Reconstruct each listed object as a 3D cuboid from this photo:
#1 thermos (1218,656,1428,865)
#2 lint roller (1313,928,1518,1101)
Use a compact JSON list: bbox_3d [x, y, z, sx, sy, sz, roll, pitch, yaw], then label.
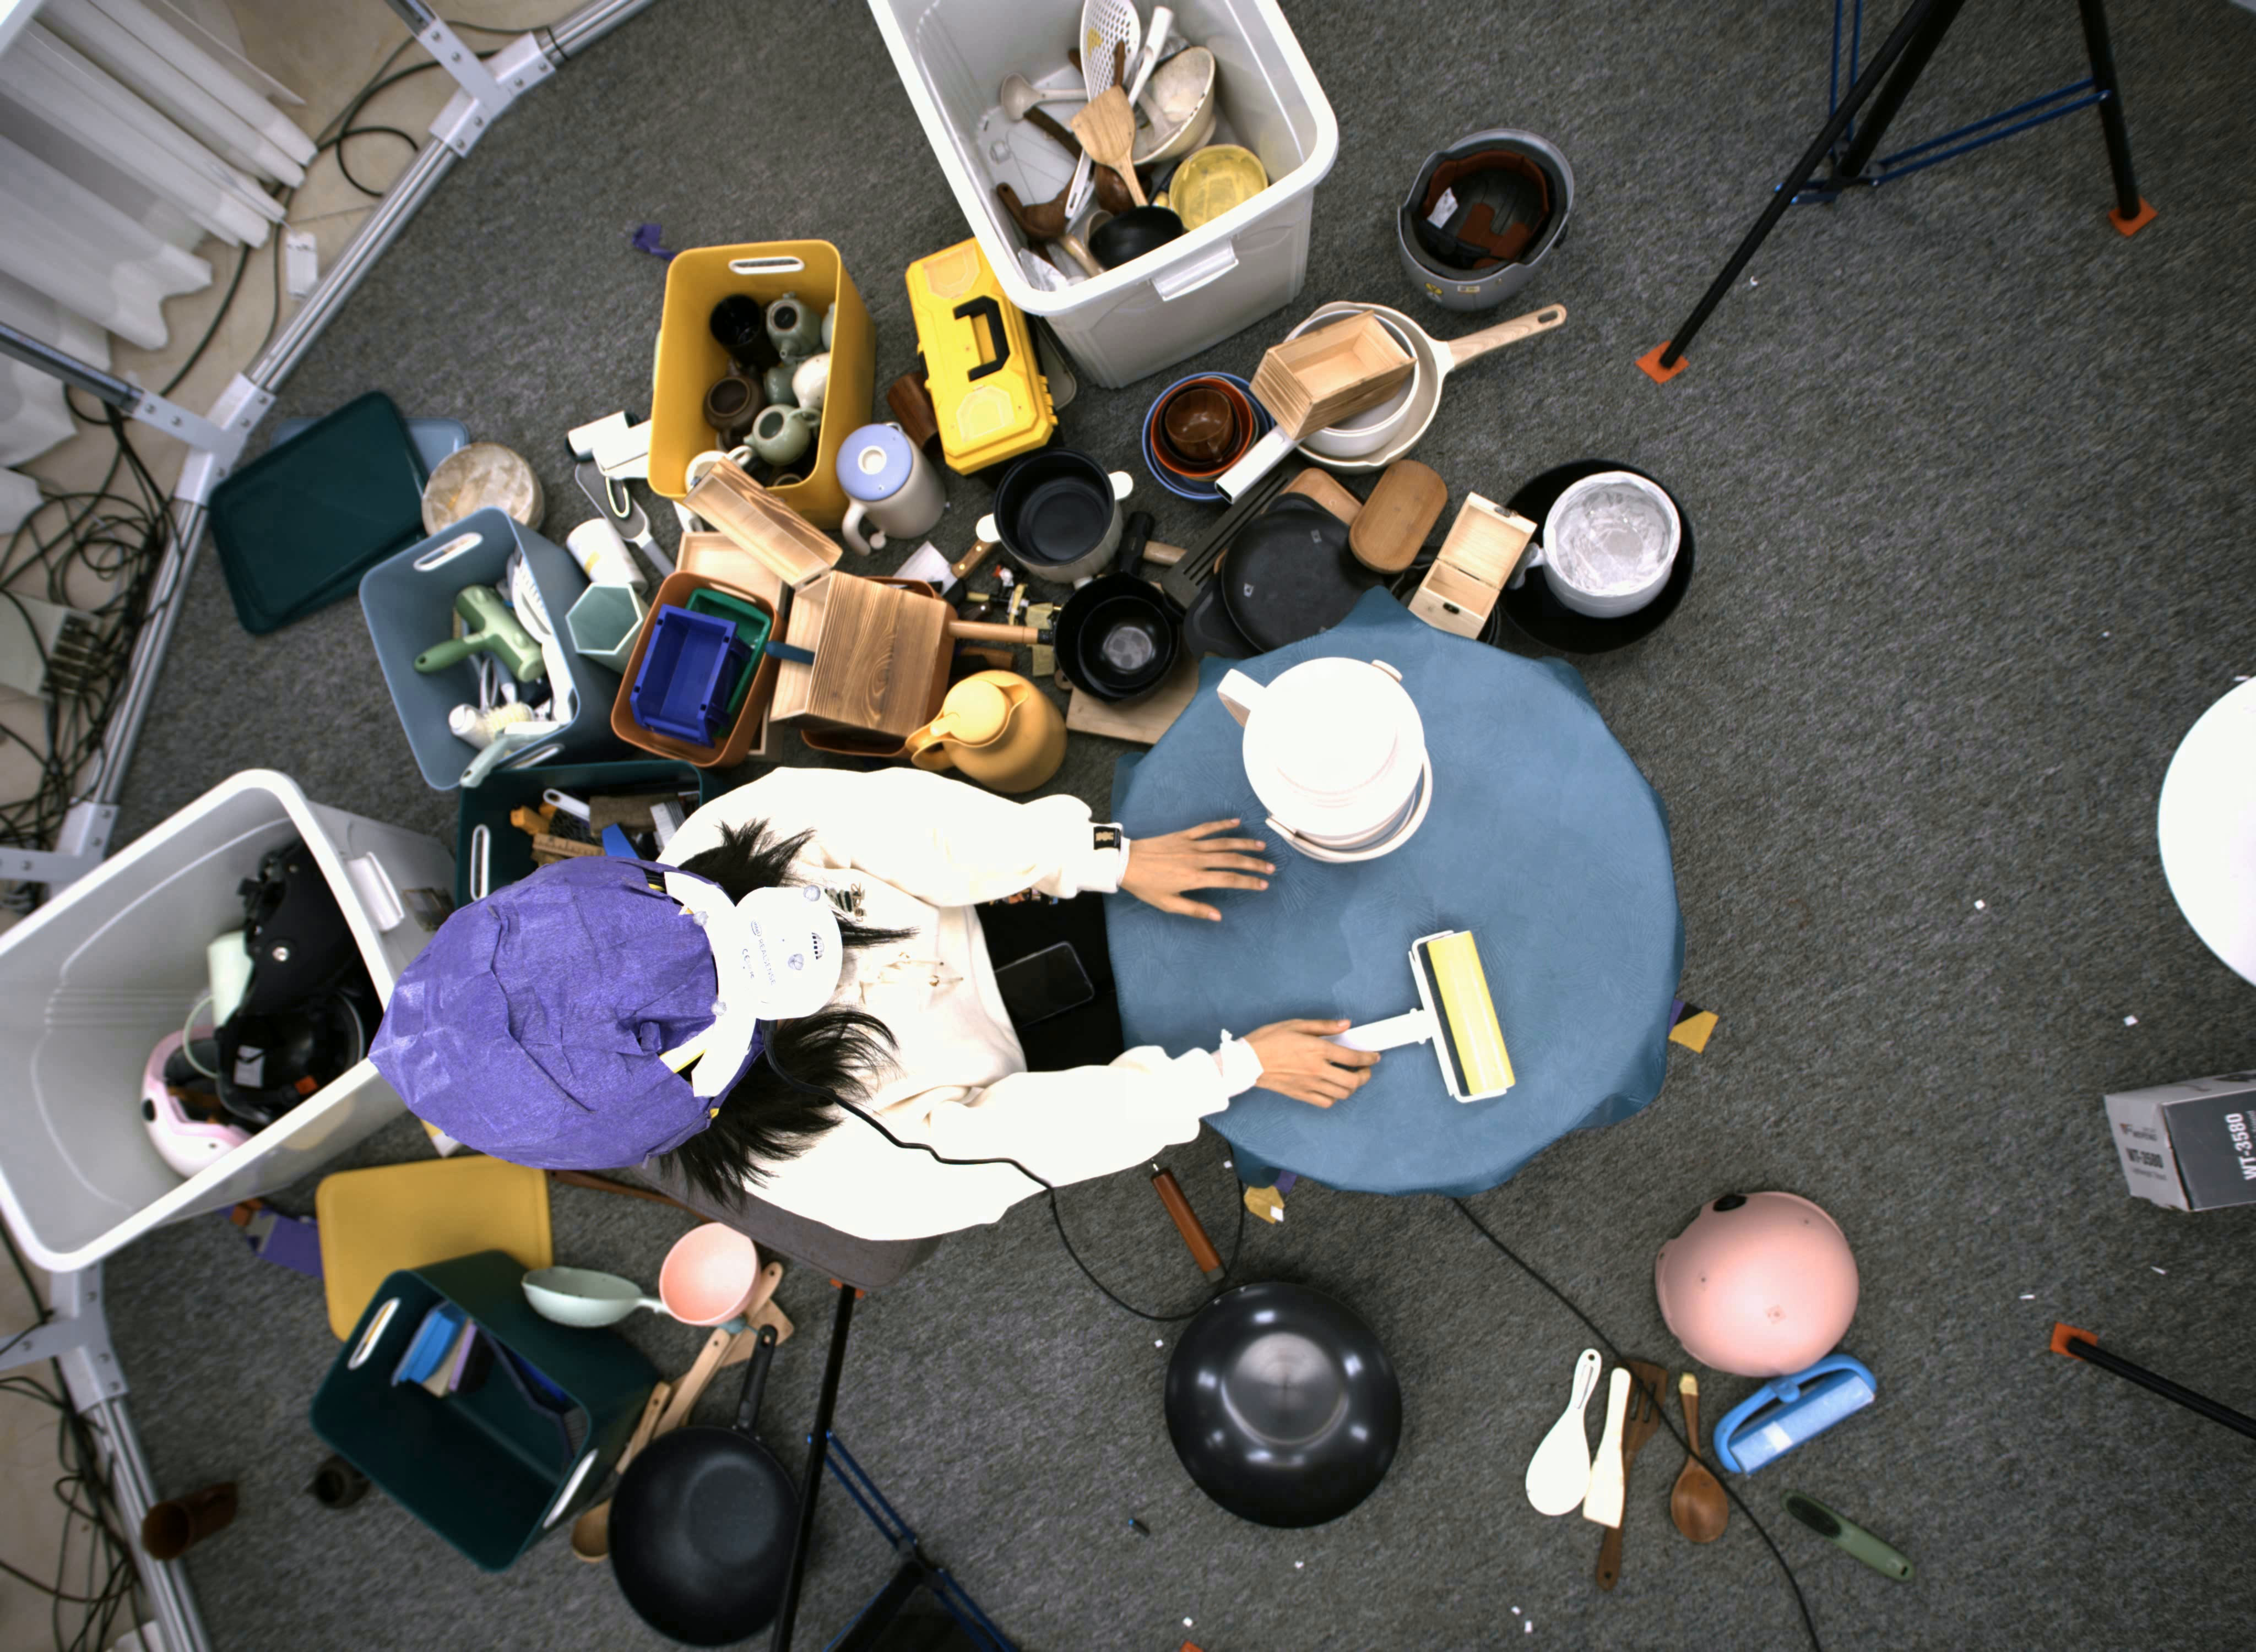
[{"bbox_3d":[0.182,-0.069,1.283,0.206,0.407,0.175,34,91,11],"label":"thermos"},{"bbox_3d":[0.285,0.210,1.422,0.192,0.051,0.173,-16,83,2],"label":"lint roller"}]
